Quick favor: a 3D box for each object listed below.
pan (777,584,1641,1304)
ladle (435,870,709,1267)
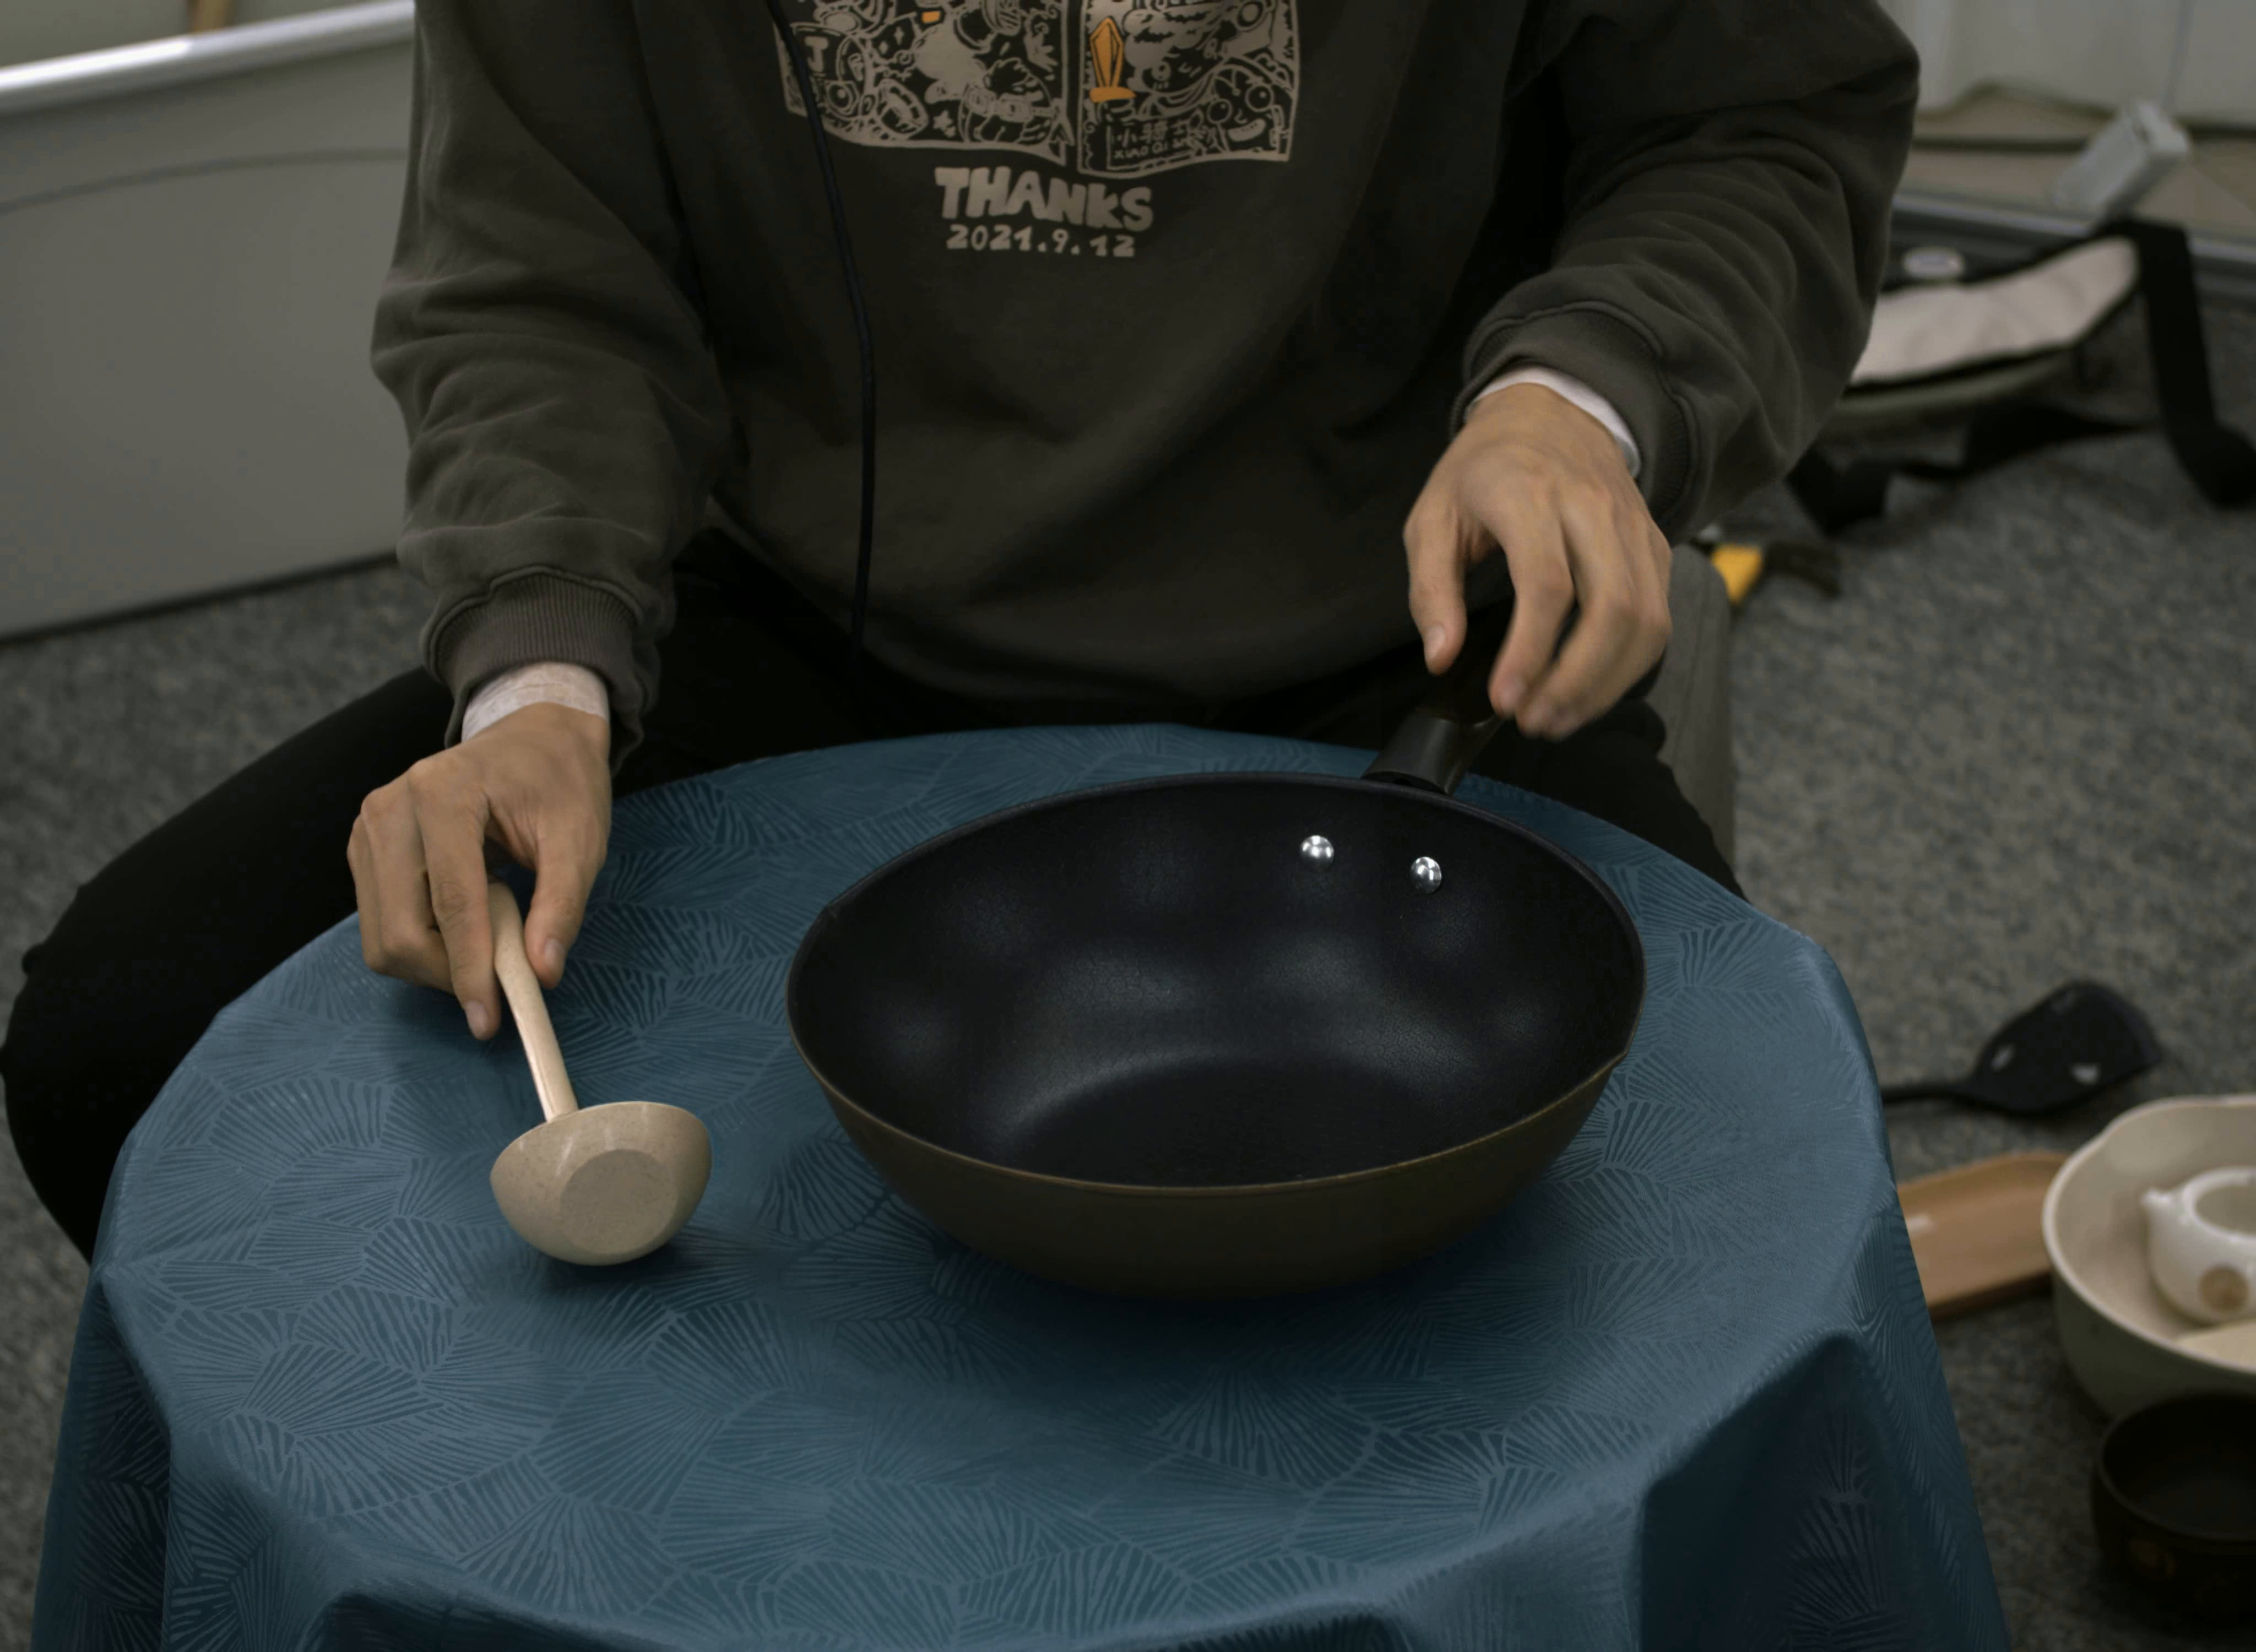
[{"bbox_3d":[0.068,0.041,1.921,0.286,0.086,0.471,10,29,24],"label":"pan"},{"bbox_3d":[-0.203,0.057,1.902,0.072,0.072,0.257,-11,36,-15],"label":"ladle"}]
